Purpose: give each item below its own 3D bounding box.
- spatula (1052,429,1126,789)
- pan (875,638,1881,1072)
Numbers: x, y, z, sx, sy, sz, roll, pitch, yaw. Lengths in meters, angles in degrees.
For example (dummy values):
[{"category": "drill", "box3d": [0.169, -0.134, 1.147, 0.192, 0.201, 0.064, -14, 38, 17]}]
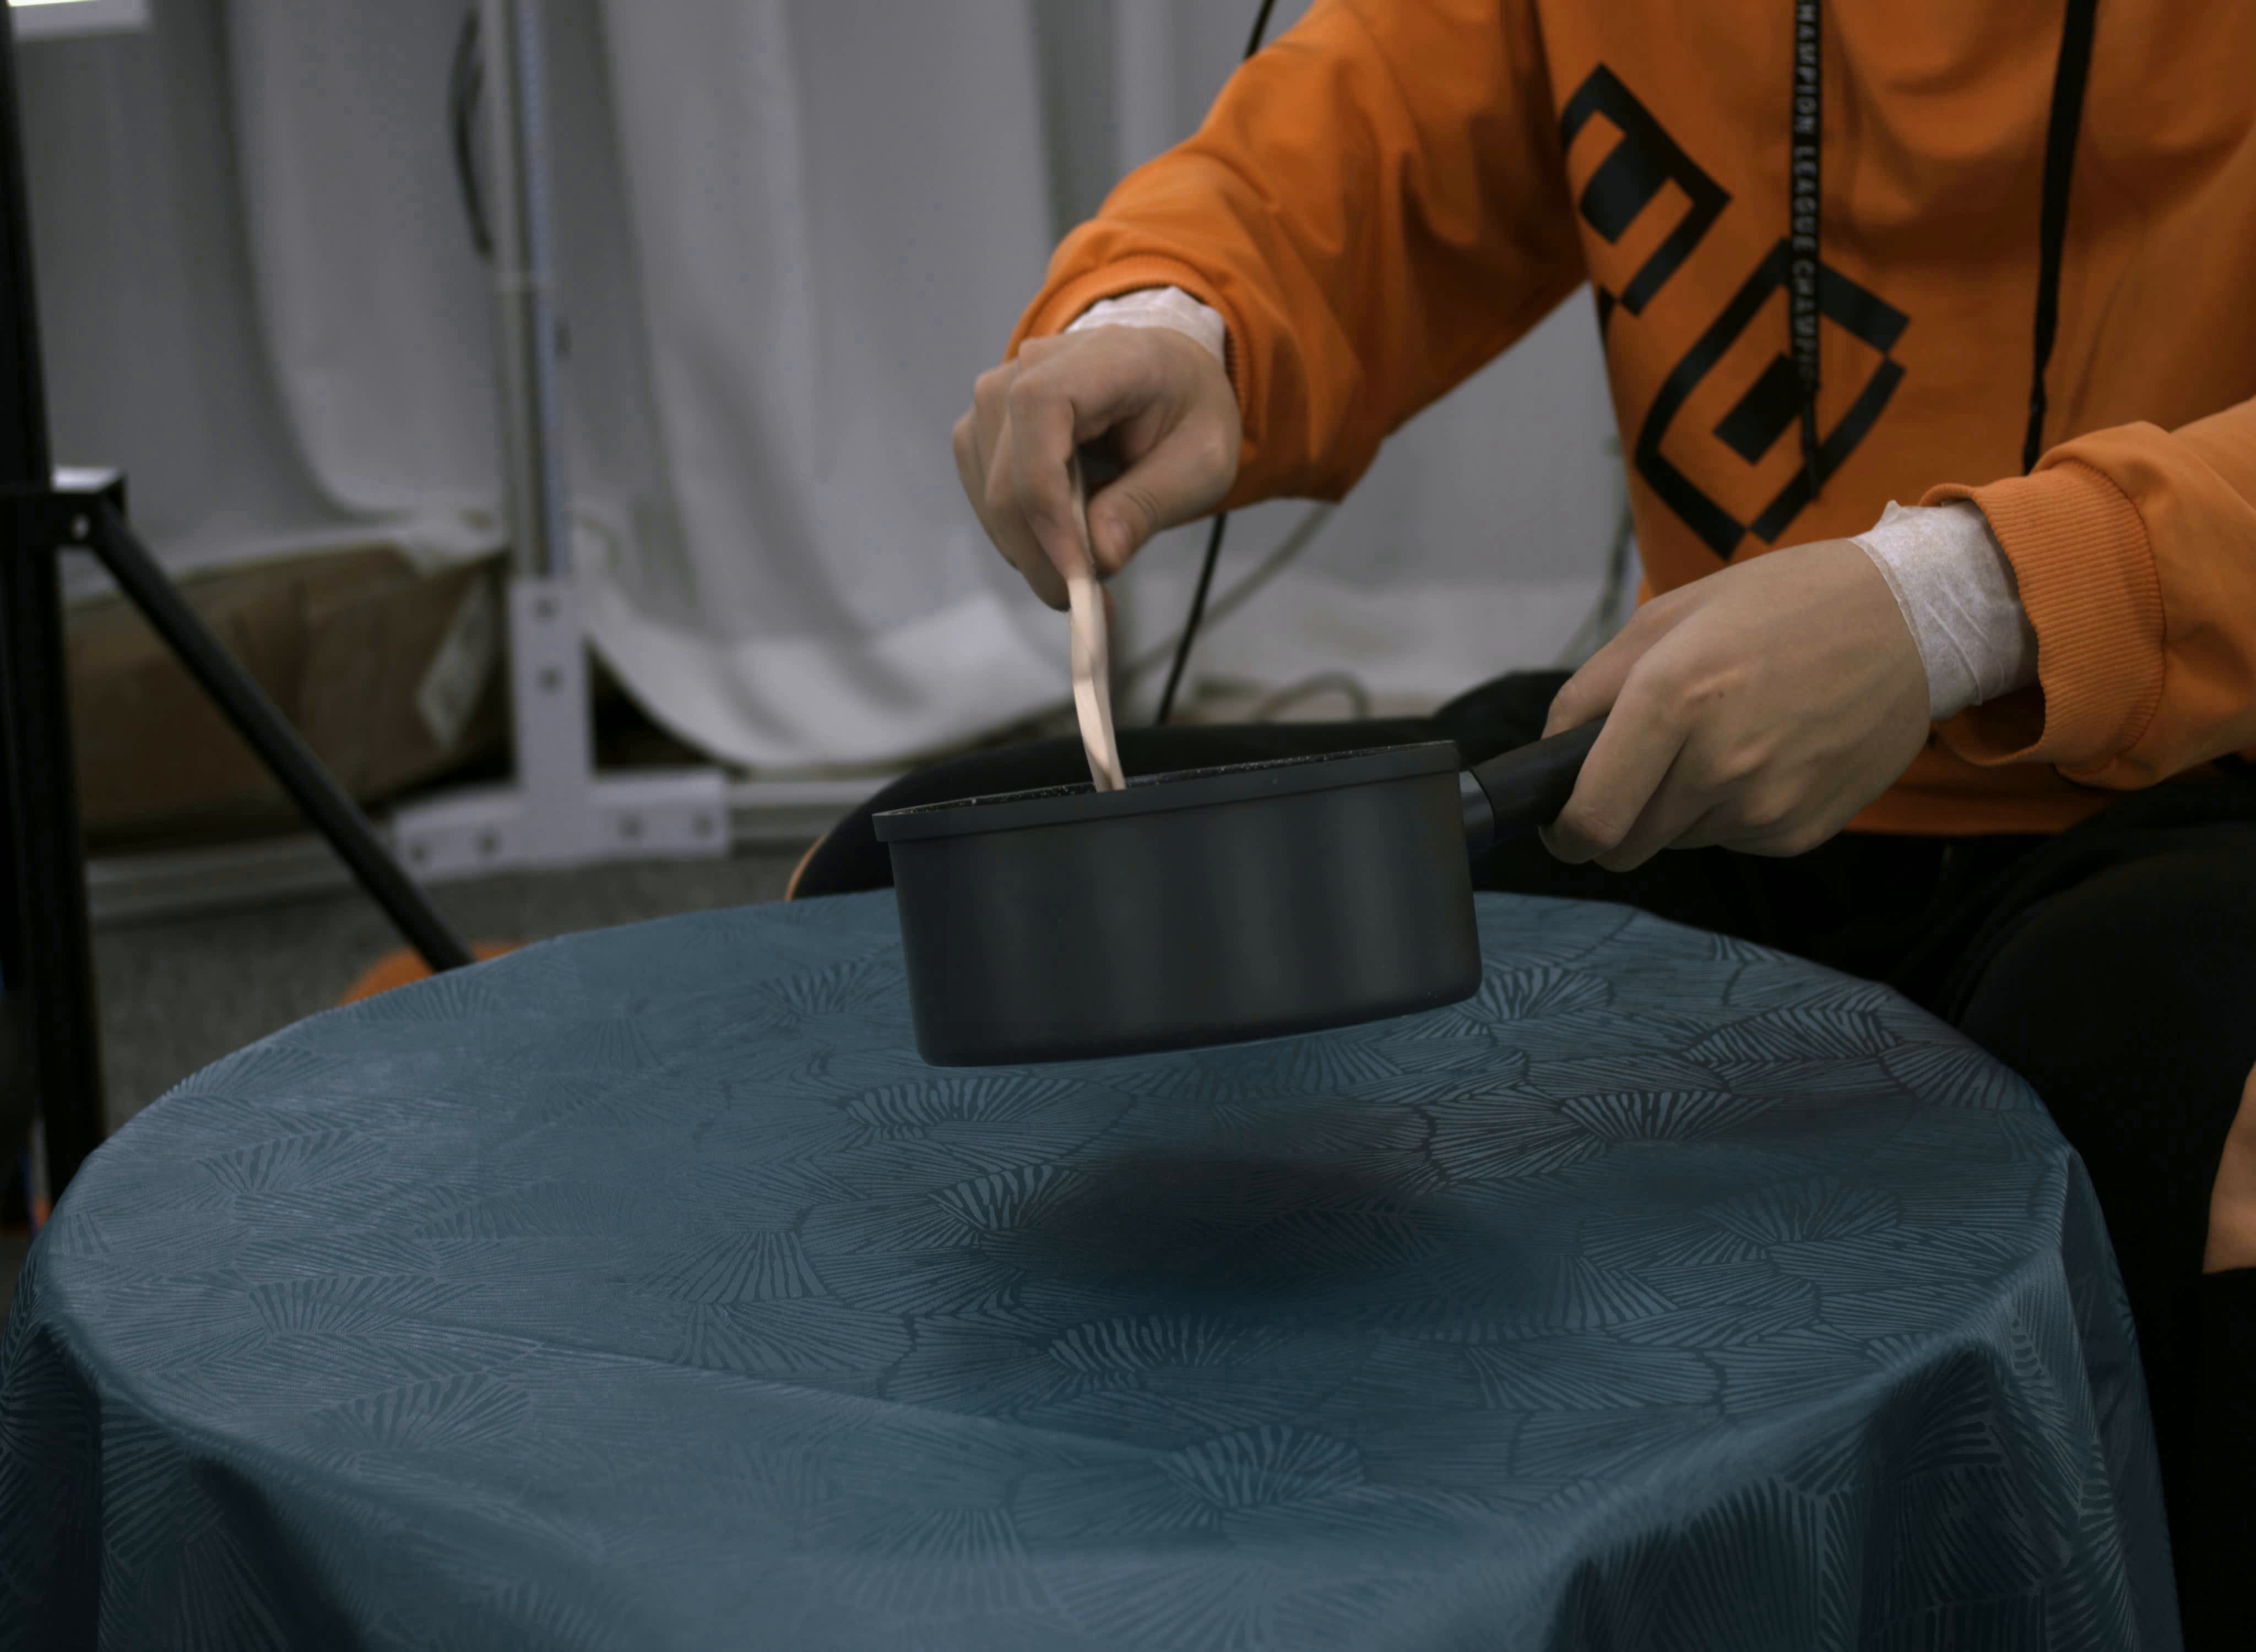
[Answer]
[{"category": "spatula", "box3d": [-0.012, -0.057, 1.604, 0.010, 0.072, 0.295, -14, 25, 3]}, {"category": "pan", "box3d": [0.085, 0.009, 1.547, 0.321, 0.087, 0.175, -9, 3, -27]}]
